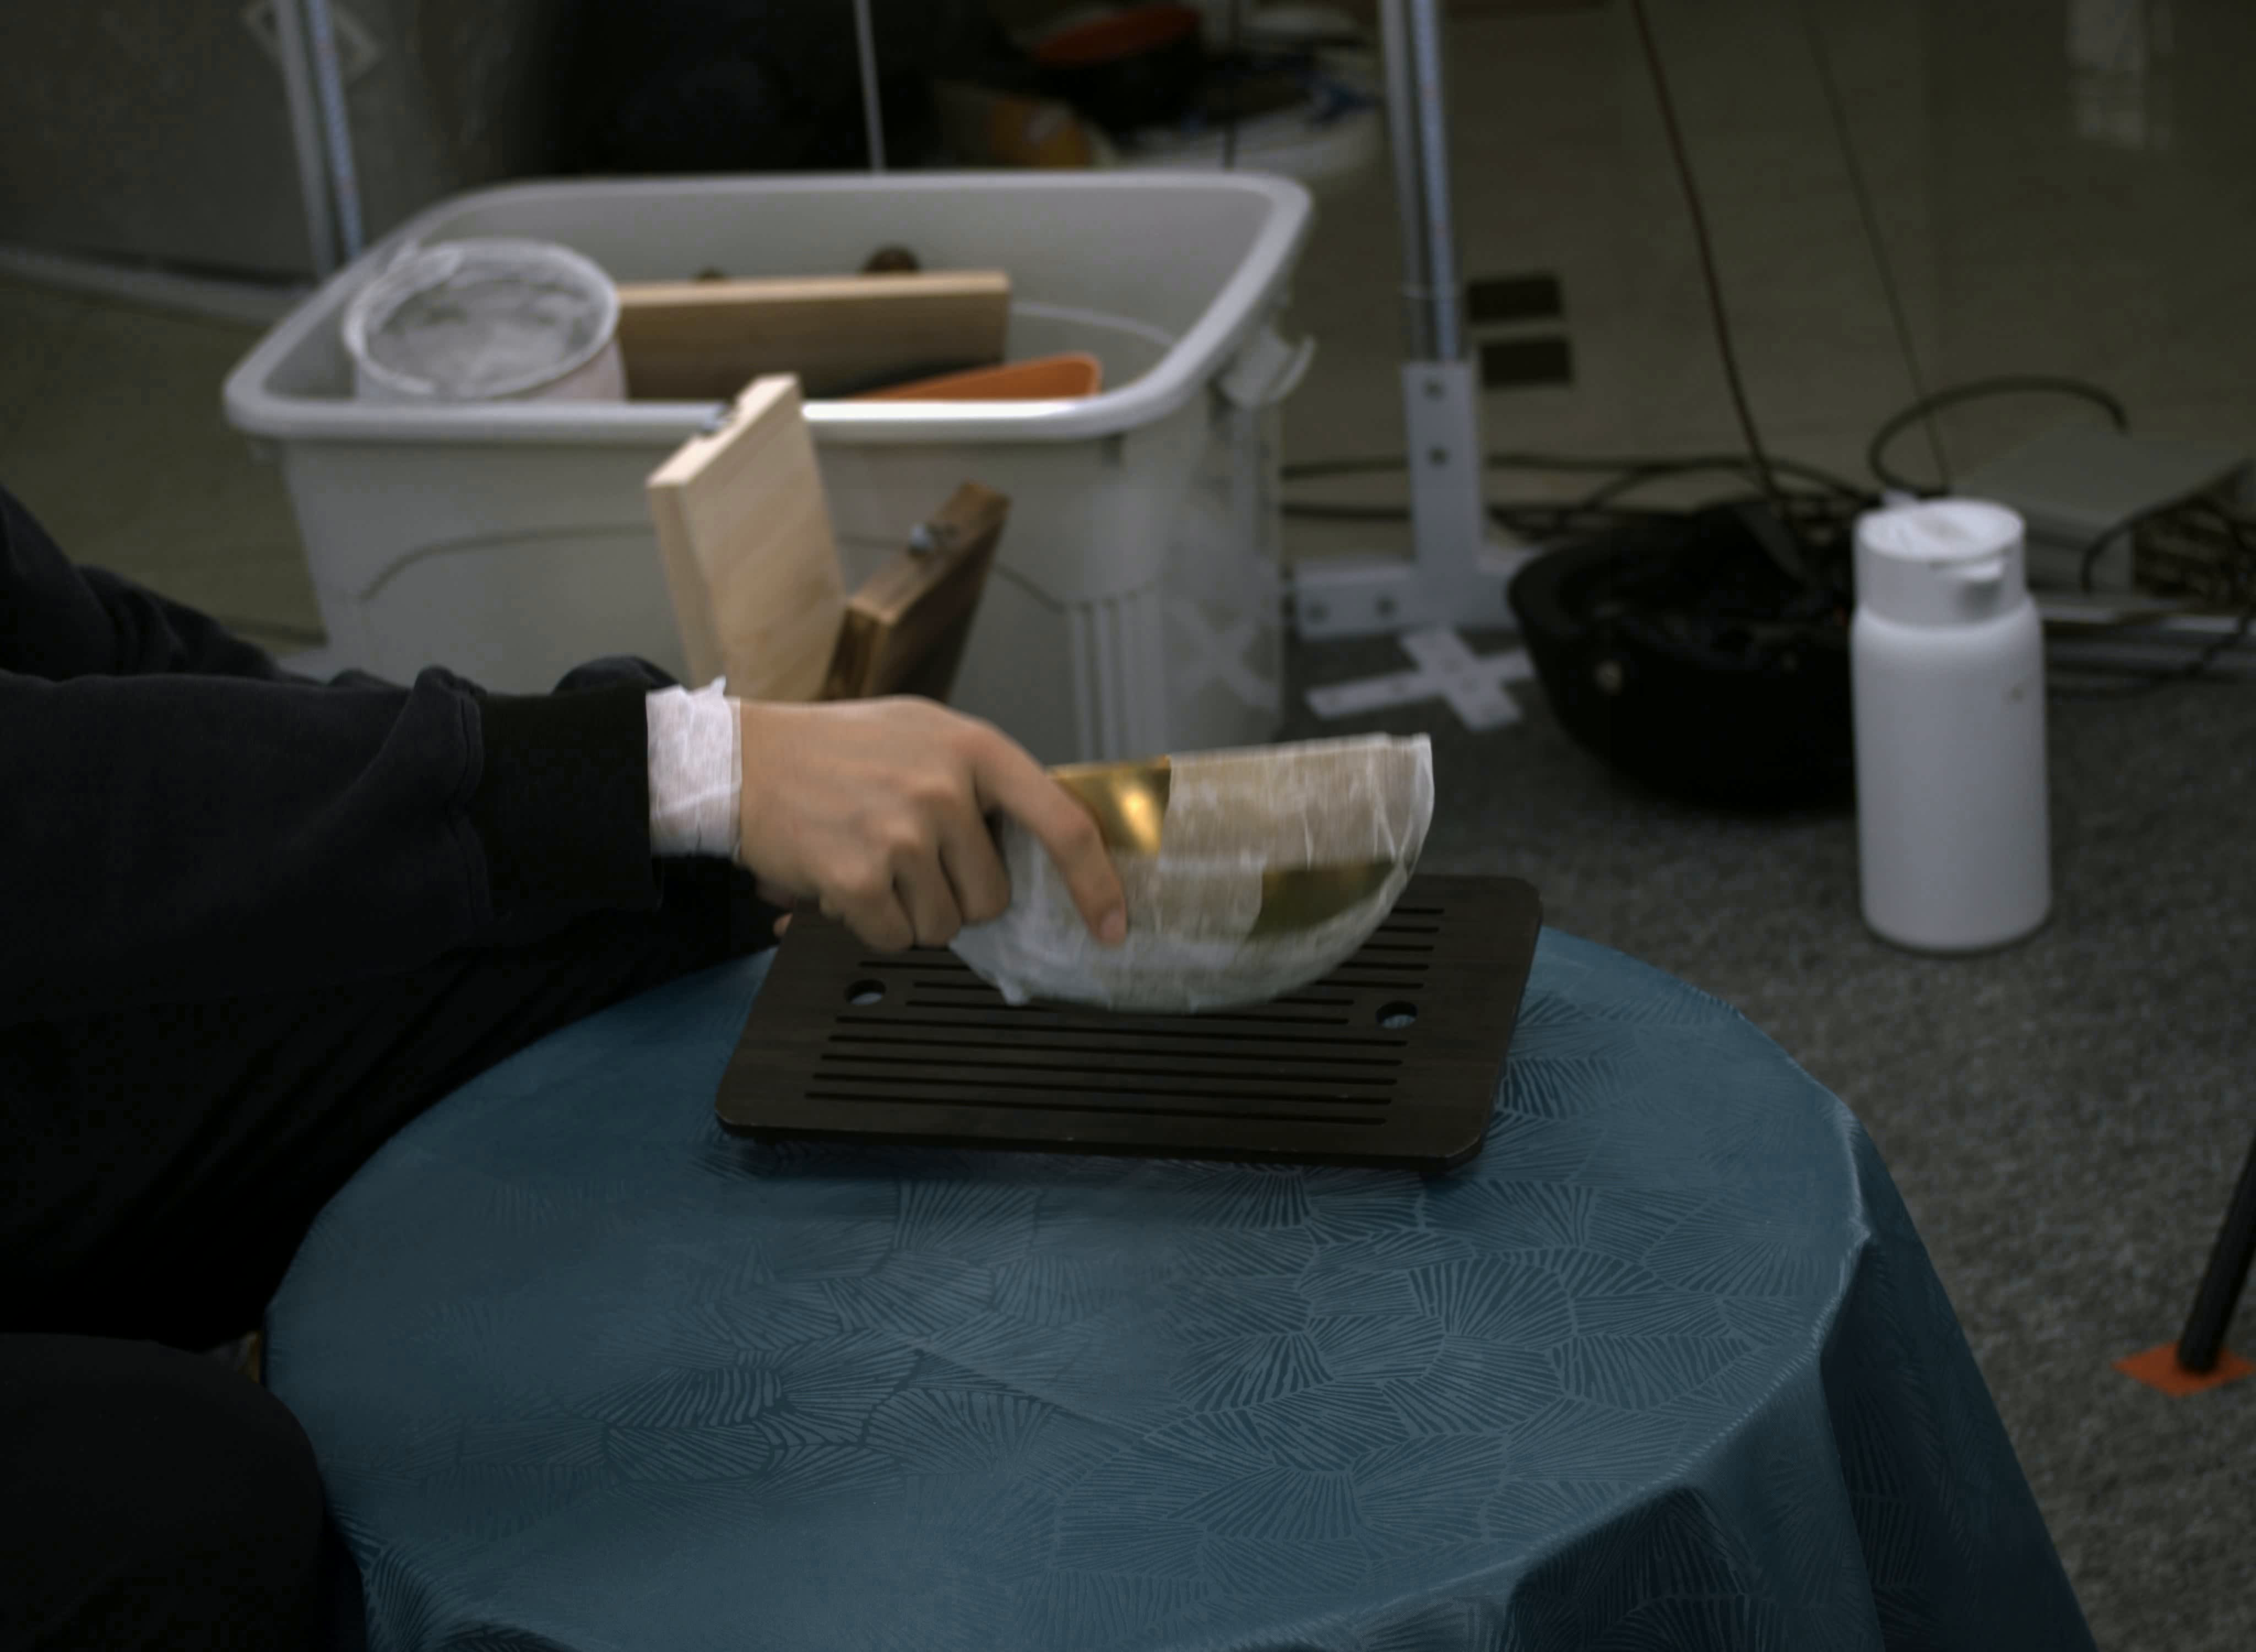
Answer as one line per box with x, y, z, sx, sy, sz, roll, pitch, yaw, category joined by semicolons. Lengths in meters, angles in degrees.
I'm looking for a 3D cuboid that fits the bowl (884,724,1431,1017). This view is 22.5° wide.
0.013;0.020;2.077;0.214;0.094;0.215;-7;-2;0;bowl

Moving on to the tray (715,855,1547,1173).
0.003;0.073;2.225;0.305;0.019;0.167;2;38;14;tray
